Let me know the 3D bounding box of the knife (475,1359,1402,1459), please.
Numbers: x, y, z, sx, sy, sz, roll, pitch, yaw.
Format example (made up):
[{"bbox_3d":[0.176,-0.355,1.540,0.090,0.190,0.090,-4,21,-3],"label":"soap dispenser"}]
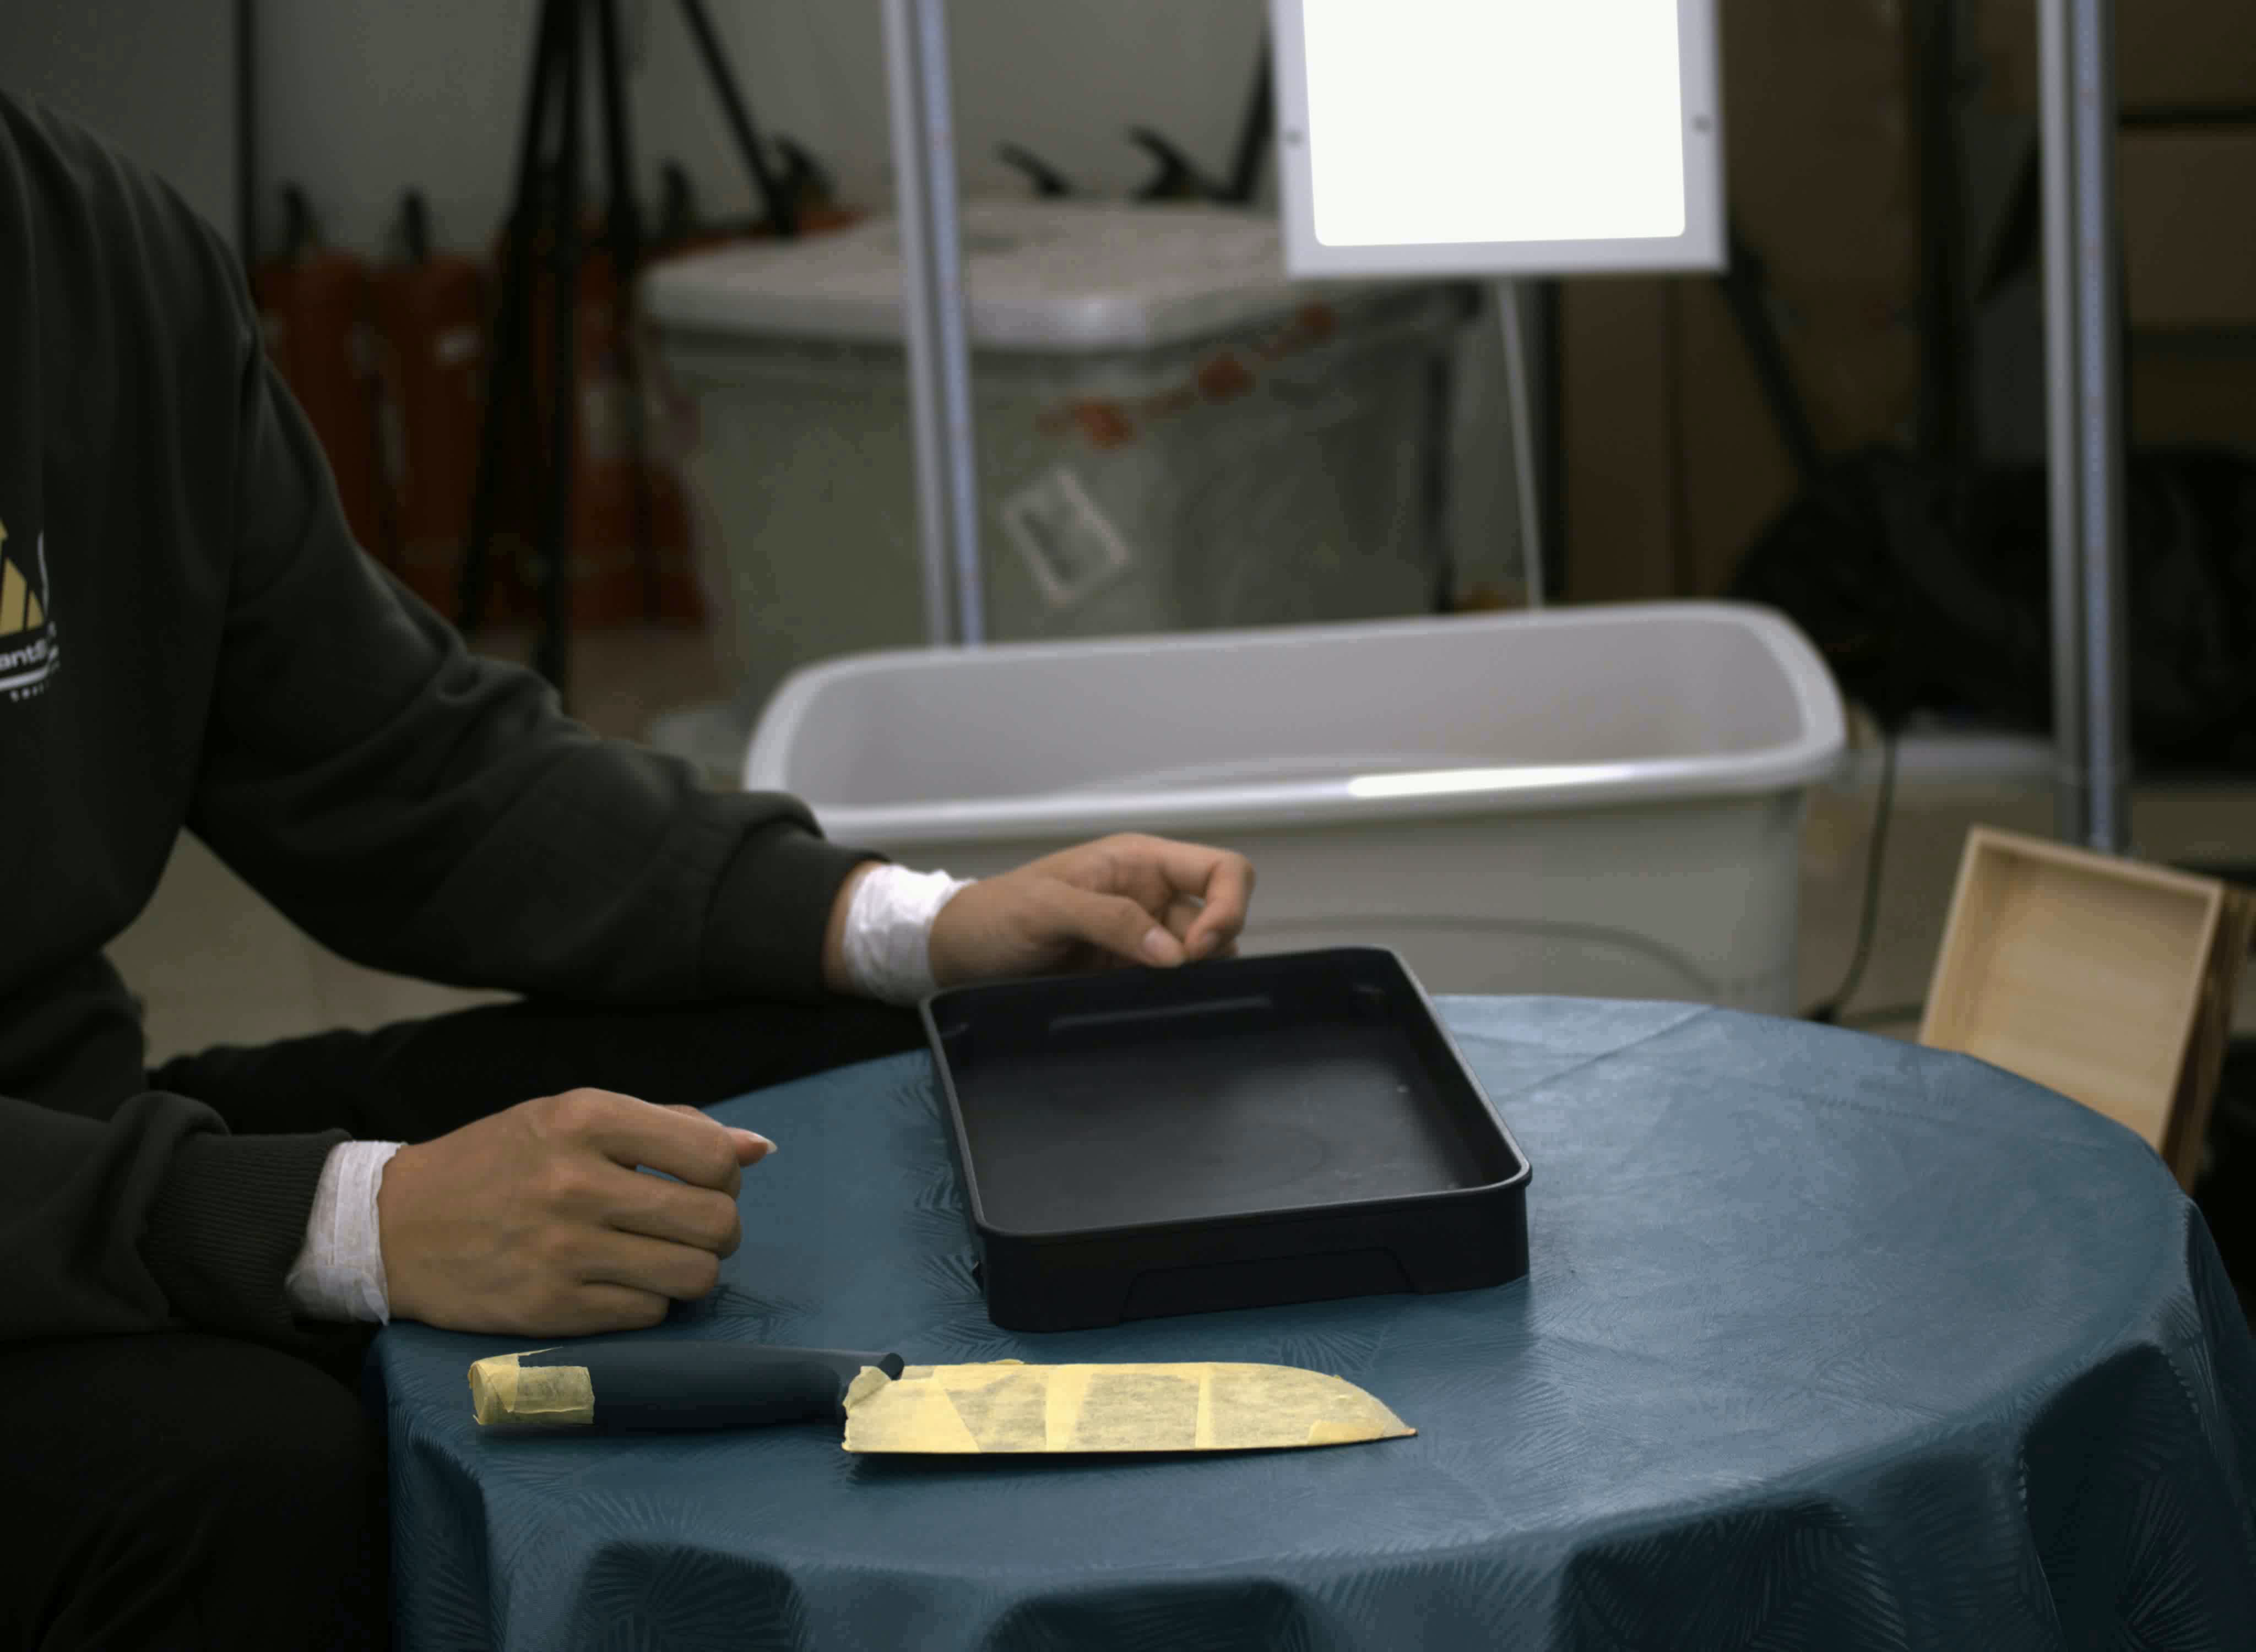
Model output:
[{"bbox_3d":[-0.060,0.179,1.680,0.290,0.027,0.080,-2,12,8],"label":"knife"}]

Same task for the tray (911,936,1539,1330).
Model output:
[{"bbox_3d":[0.028,0.102,1.918,0.183,0.037,0.319,-7,14,-5],"label":"tray"}]
